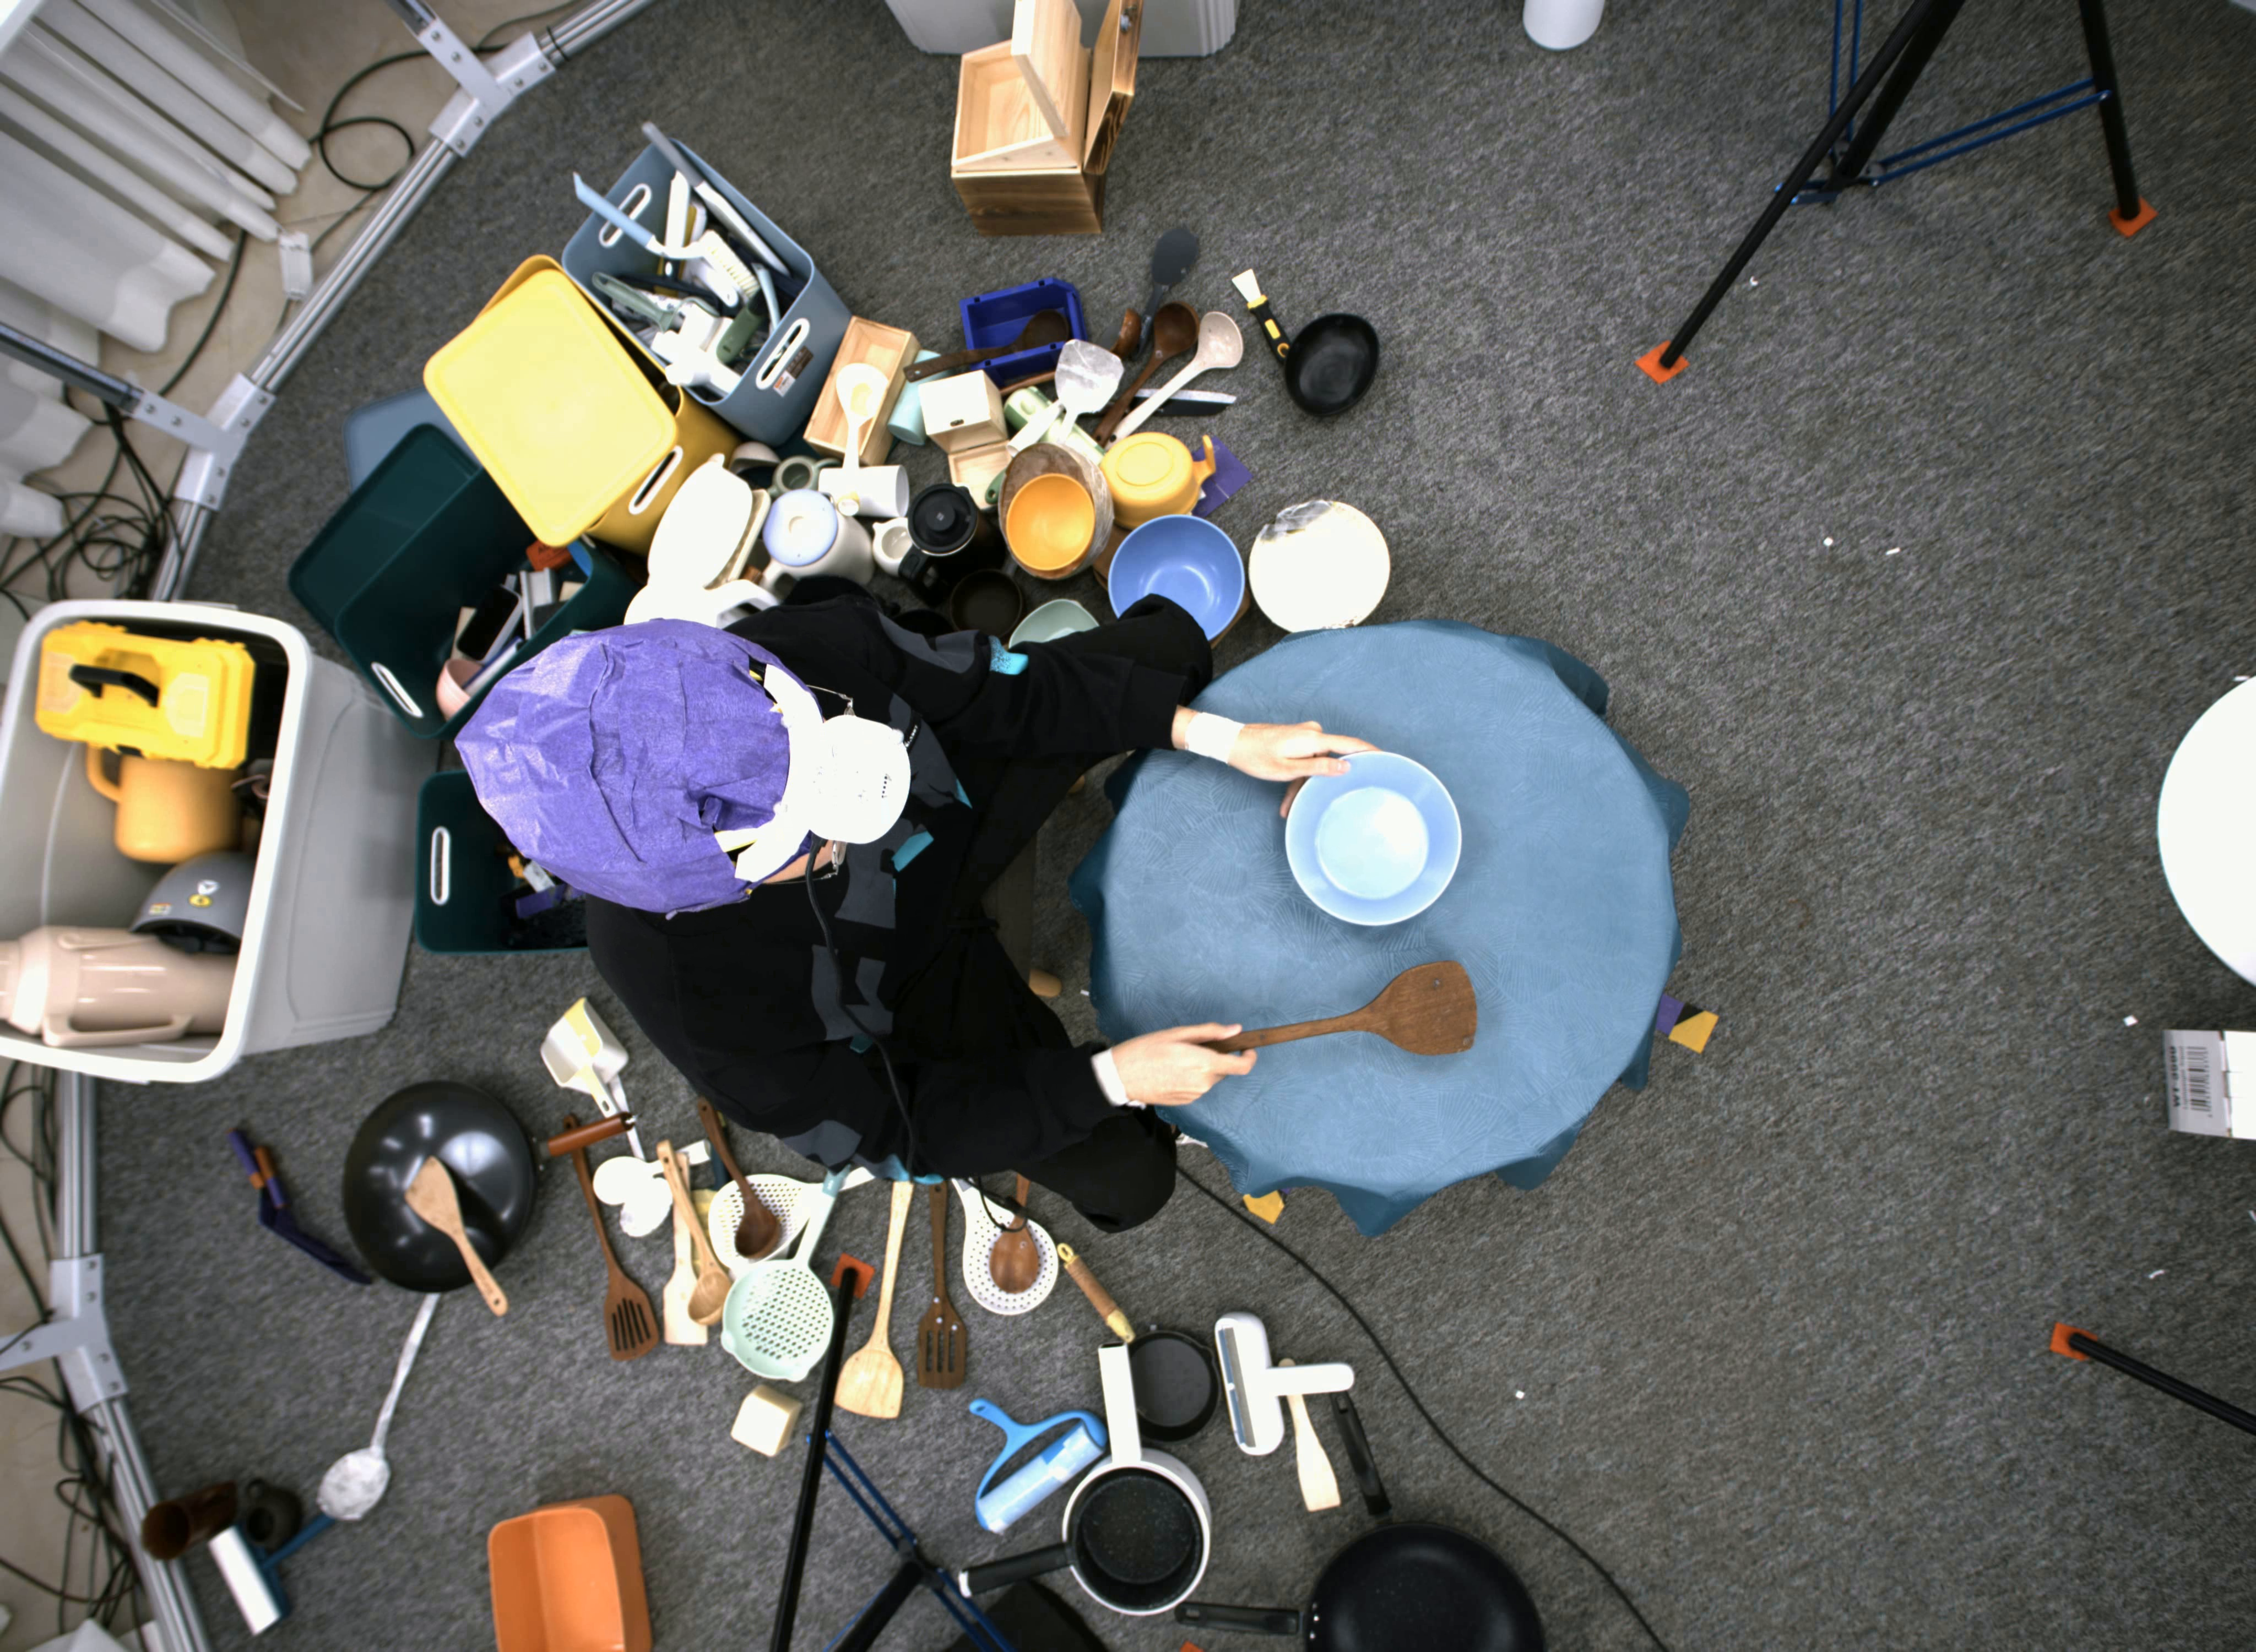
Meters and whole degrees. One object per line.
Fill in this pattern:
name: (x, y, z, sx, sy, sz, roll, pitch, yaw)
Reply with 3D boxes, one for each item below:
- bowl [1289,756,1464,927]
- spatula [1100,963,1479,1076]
bowl: (0.256, 0.017, 1.426, 0.177, 0.070, 0.175, -1, 85, 11)
spatula: (0.163, 0.209, 1.398, 0.386, 0.016, 0.096, -9, 95, 0)
